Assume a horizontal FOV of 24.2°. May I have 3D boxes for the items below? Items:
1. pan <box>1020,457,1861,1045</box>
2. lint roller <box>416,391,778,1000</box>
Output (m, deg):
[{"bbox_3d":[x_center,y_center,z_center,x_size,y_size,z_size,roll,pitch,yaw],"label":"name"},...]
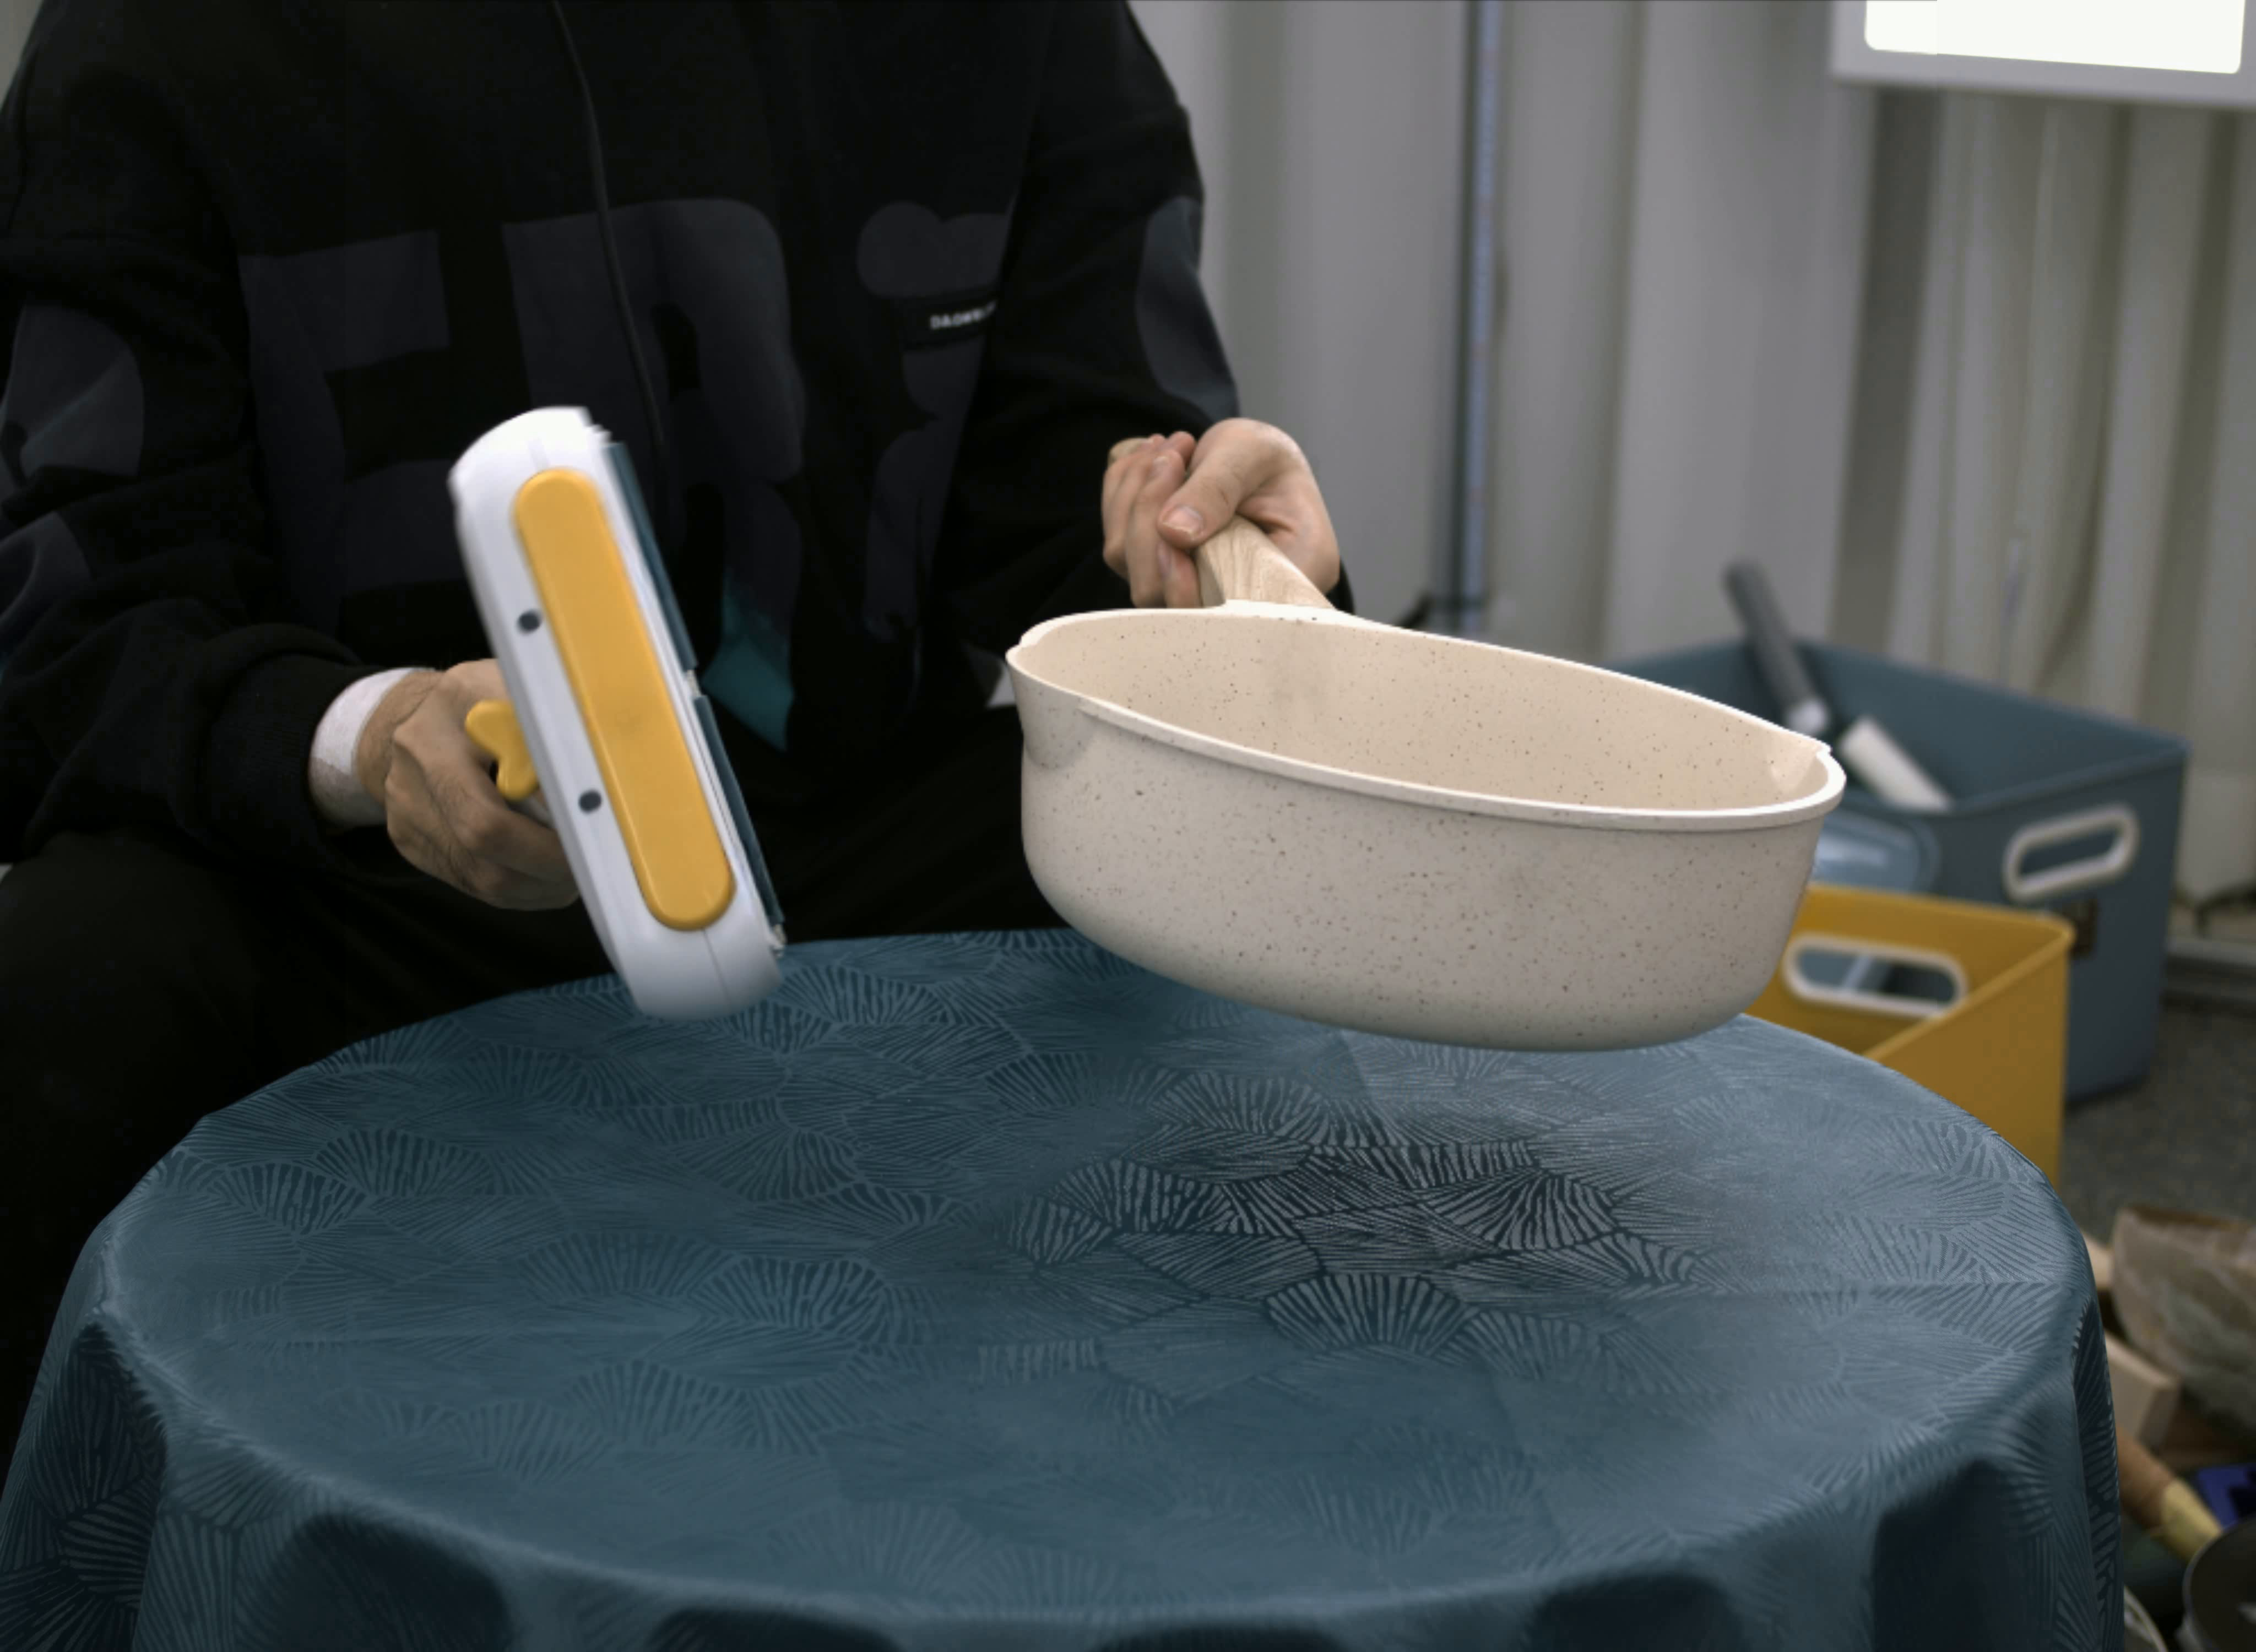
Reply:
[{"bbox_3d":[0.063,-0.028,1.665,0.264,0.102,0.430,3,13,-19],"label":"pan"},{"bbox_3d":[-0.173,-0.023,1.642,0.074,0.192,0.193,-25,-7,-12],"label":"lint roller"}]
